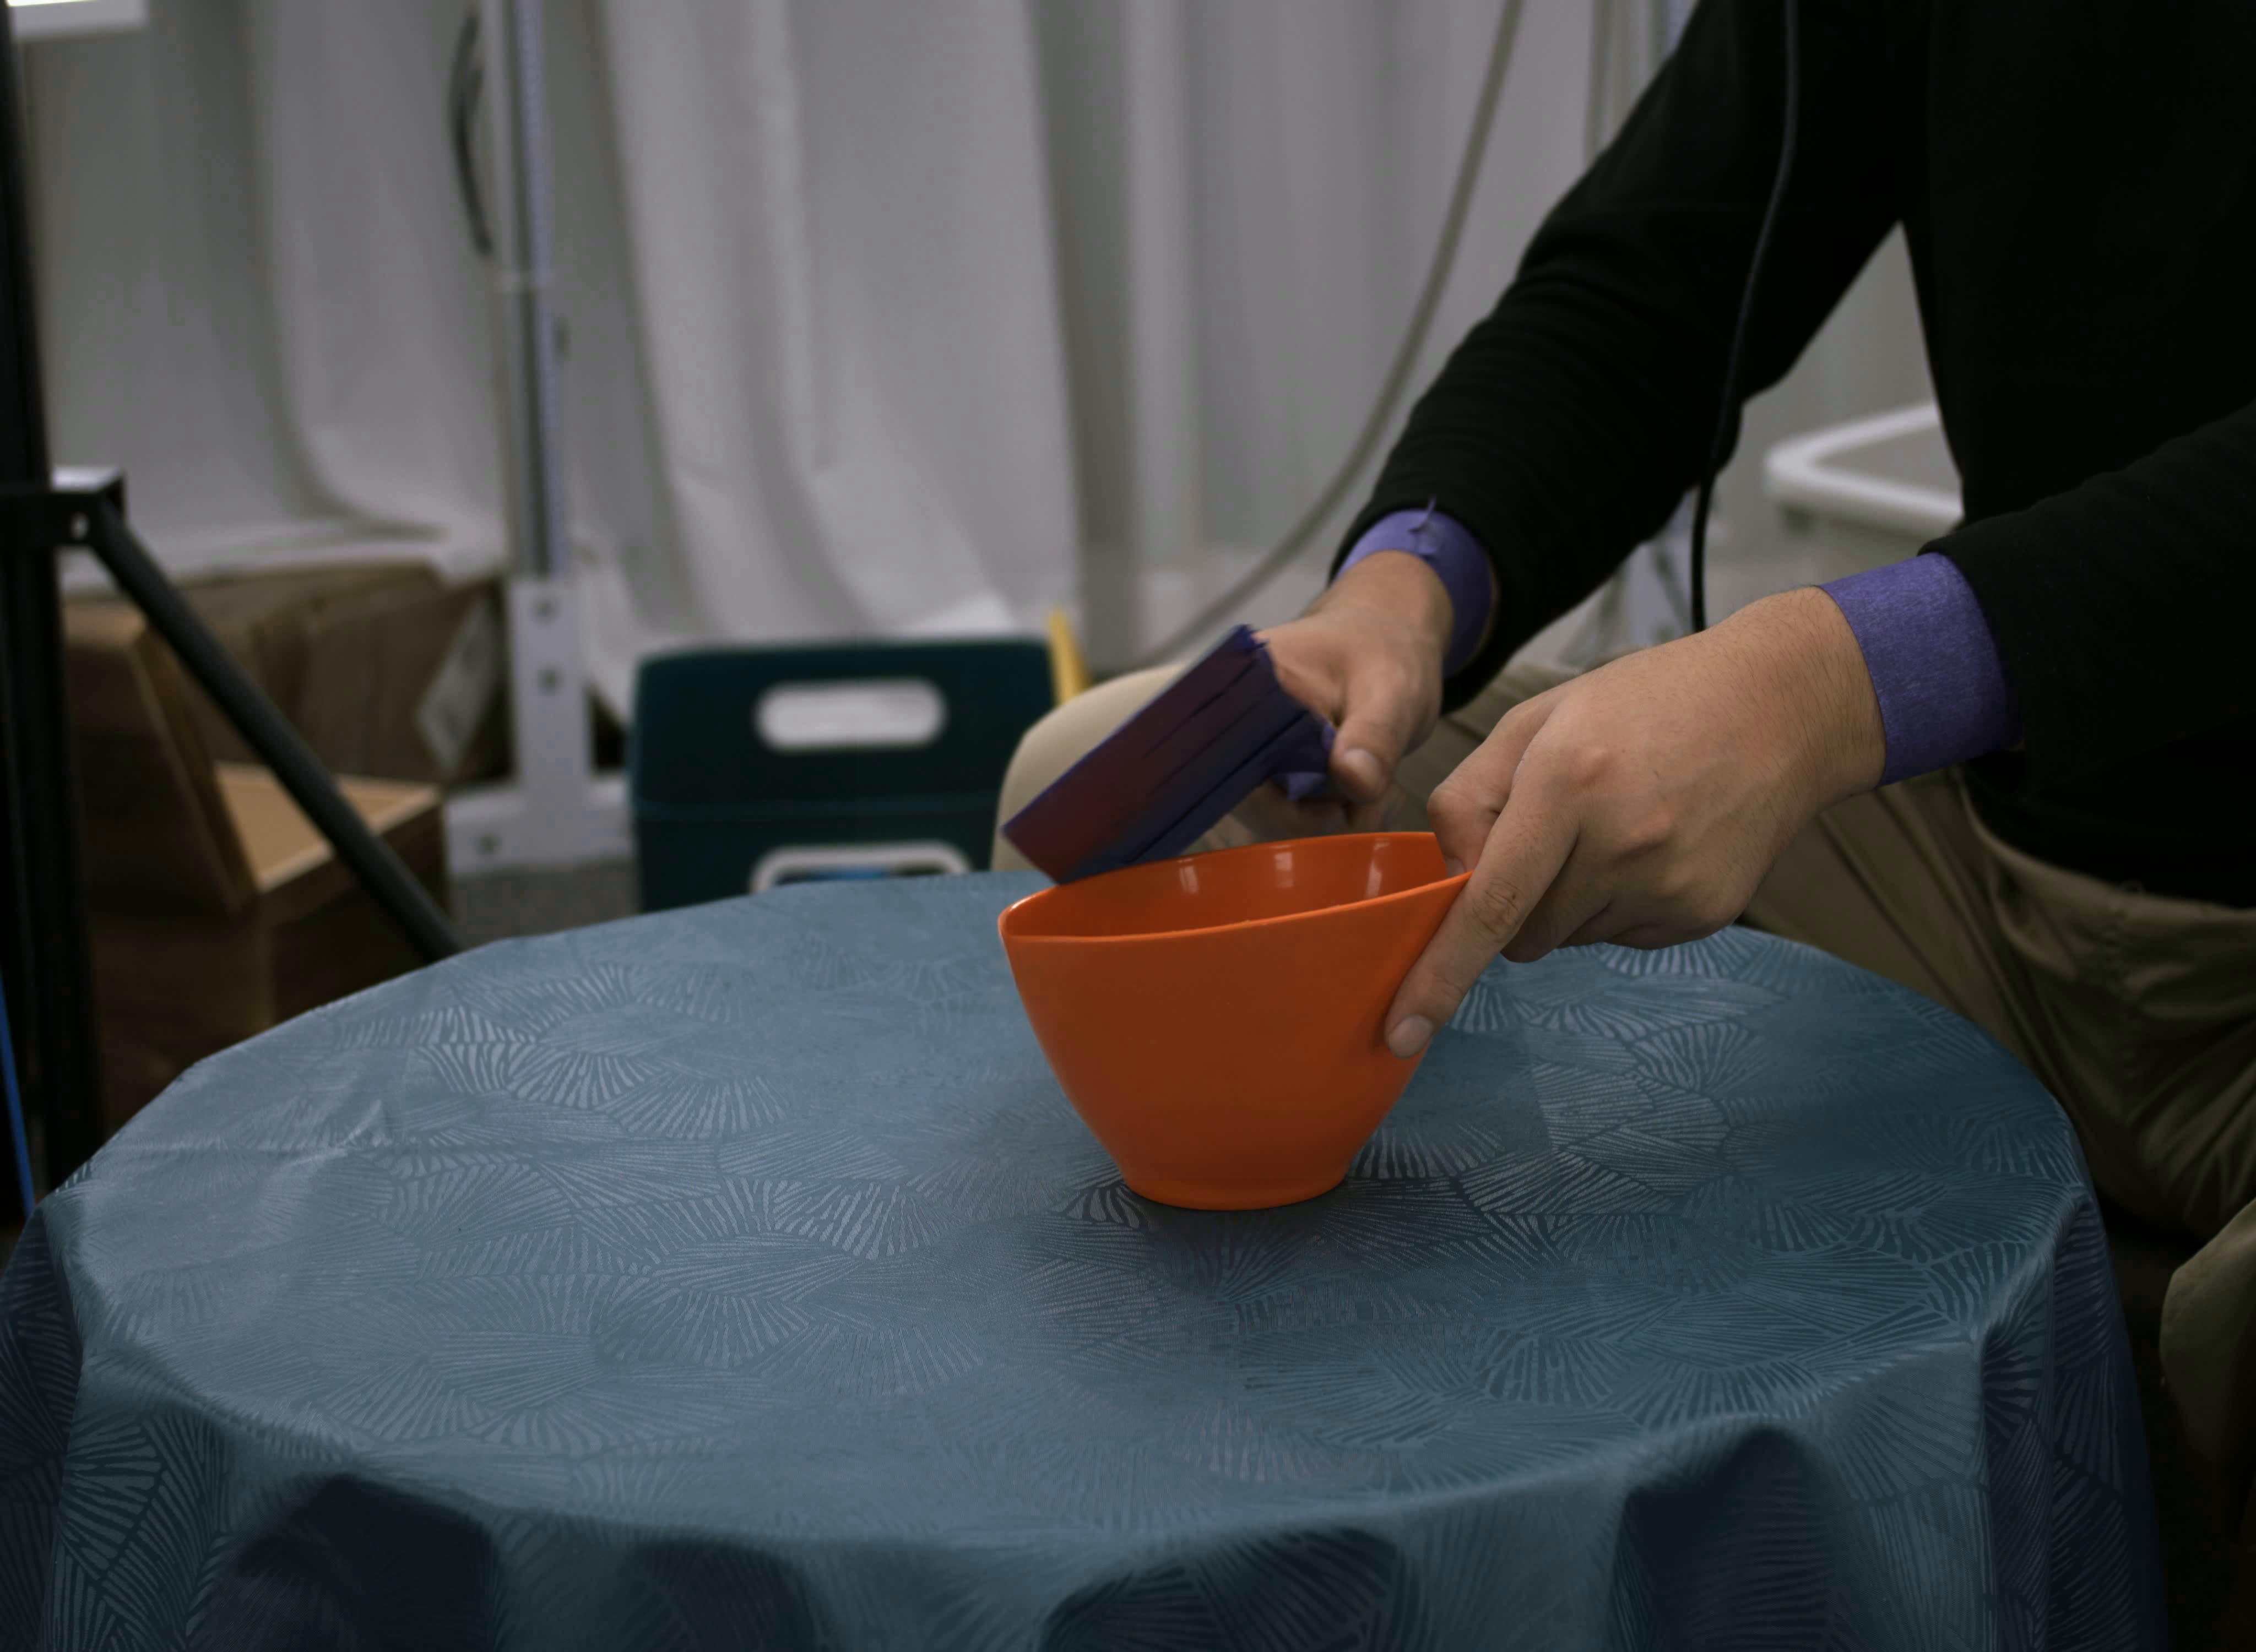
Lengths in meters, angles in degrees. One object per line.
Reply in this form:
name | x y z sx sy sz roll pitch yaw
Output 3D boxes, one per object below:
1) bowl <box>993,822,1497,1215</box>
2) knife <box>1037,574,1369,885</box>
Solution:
bowl | 0.036 0.056 1.544 0.147 0.104 0.149 -4 17 0
knife | 0.022 -0.014 1.628 0.104 0.032 0.312 -39 -13 1
